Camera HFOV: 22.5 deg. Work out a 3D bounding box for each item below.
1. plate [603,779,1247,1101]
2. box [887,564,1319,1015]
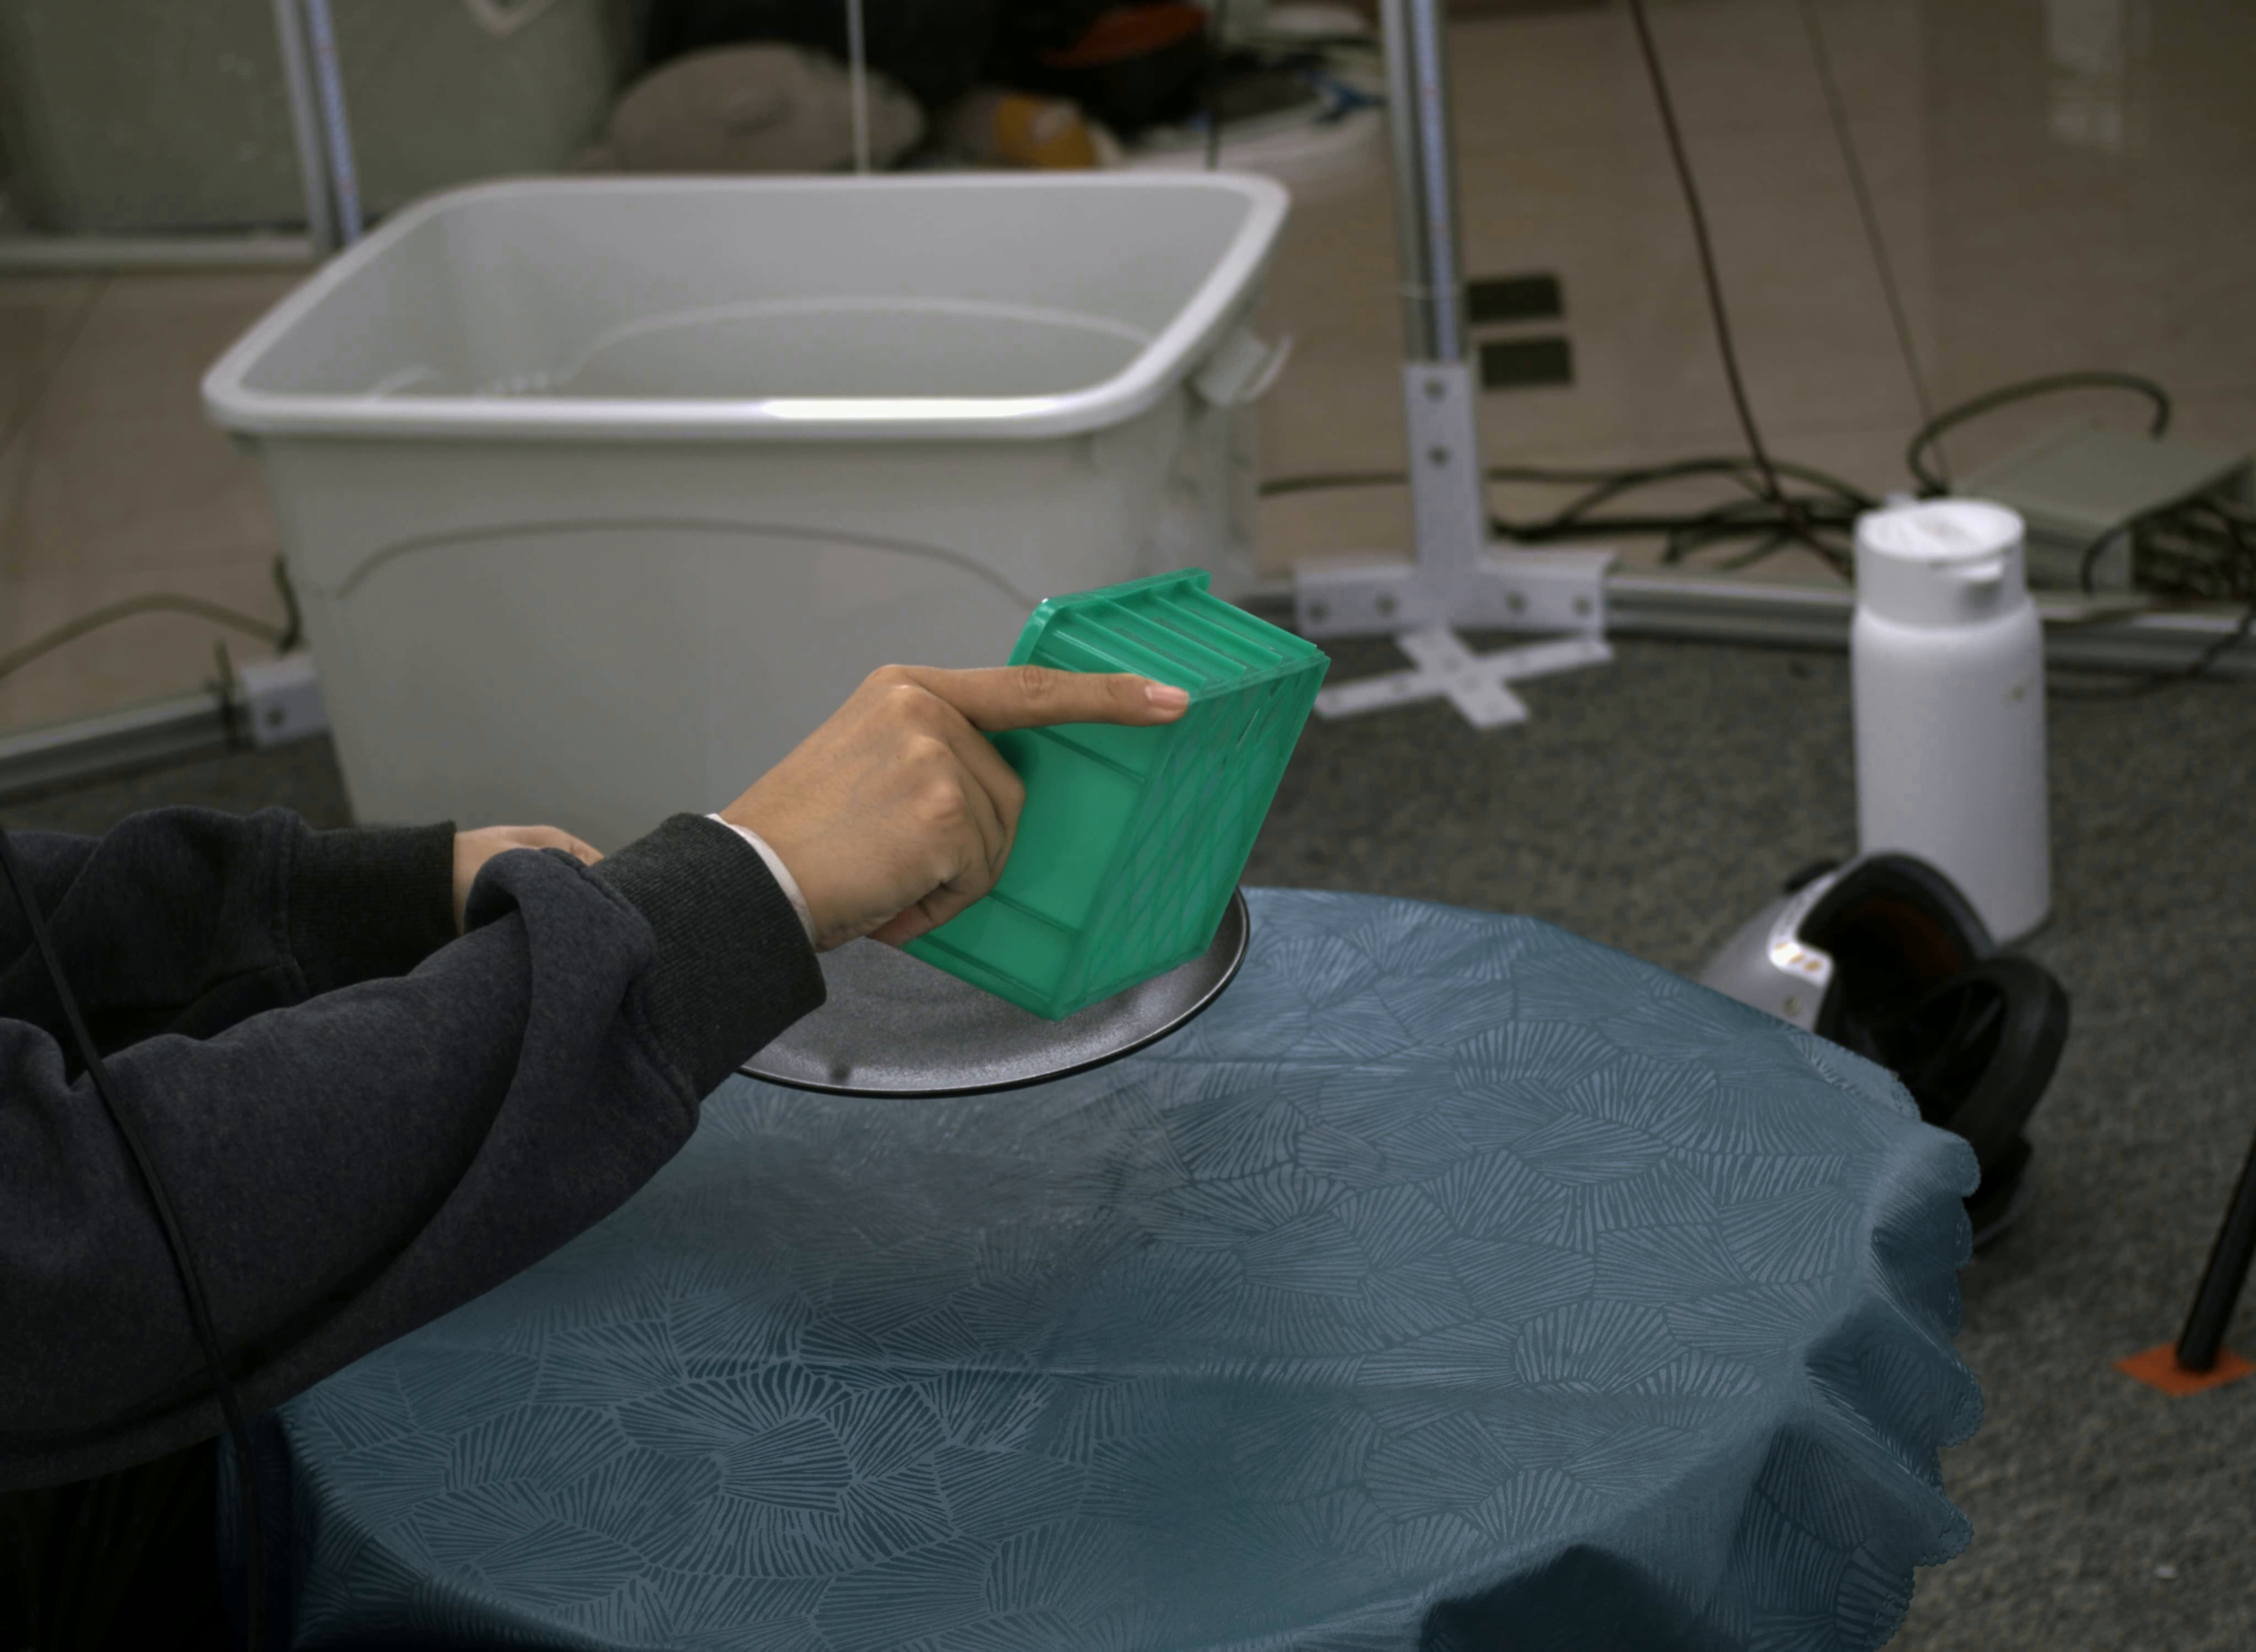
[{"bbox_3d":[-0.076,0.047,2.139,0.244,0.024,0.240,-1,29,0],"label":"plate"},{"bbox_3d":[-0.003,-0.011,1.937,0.065,0.140,0.209,24,12,12],"label":"box"}]
